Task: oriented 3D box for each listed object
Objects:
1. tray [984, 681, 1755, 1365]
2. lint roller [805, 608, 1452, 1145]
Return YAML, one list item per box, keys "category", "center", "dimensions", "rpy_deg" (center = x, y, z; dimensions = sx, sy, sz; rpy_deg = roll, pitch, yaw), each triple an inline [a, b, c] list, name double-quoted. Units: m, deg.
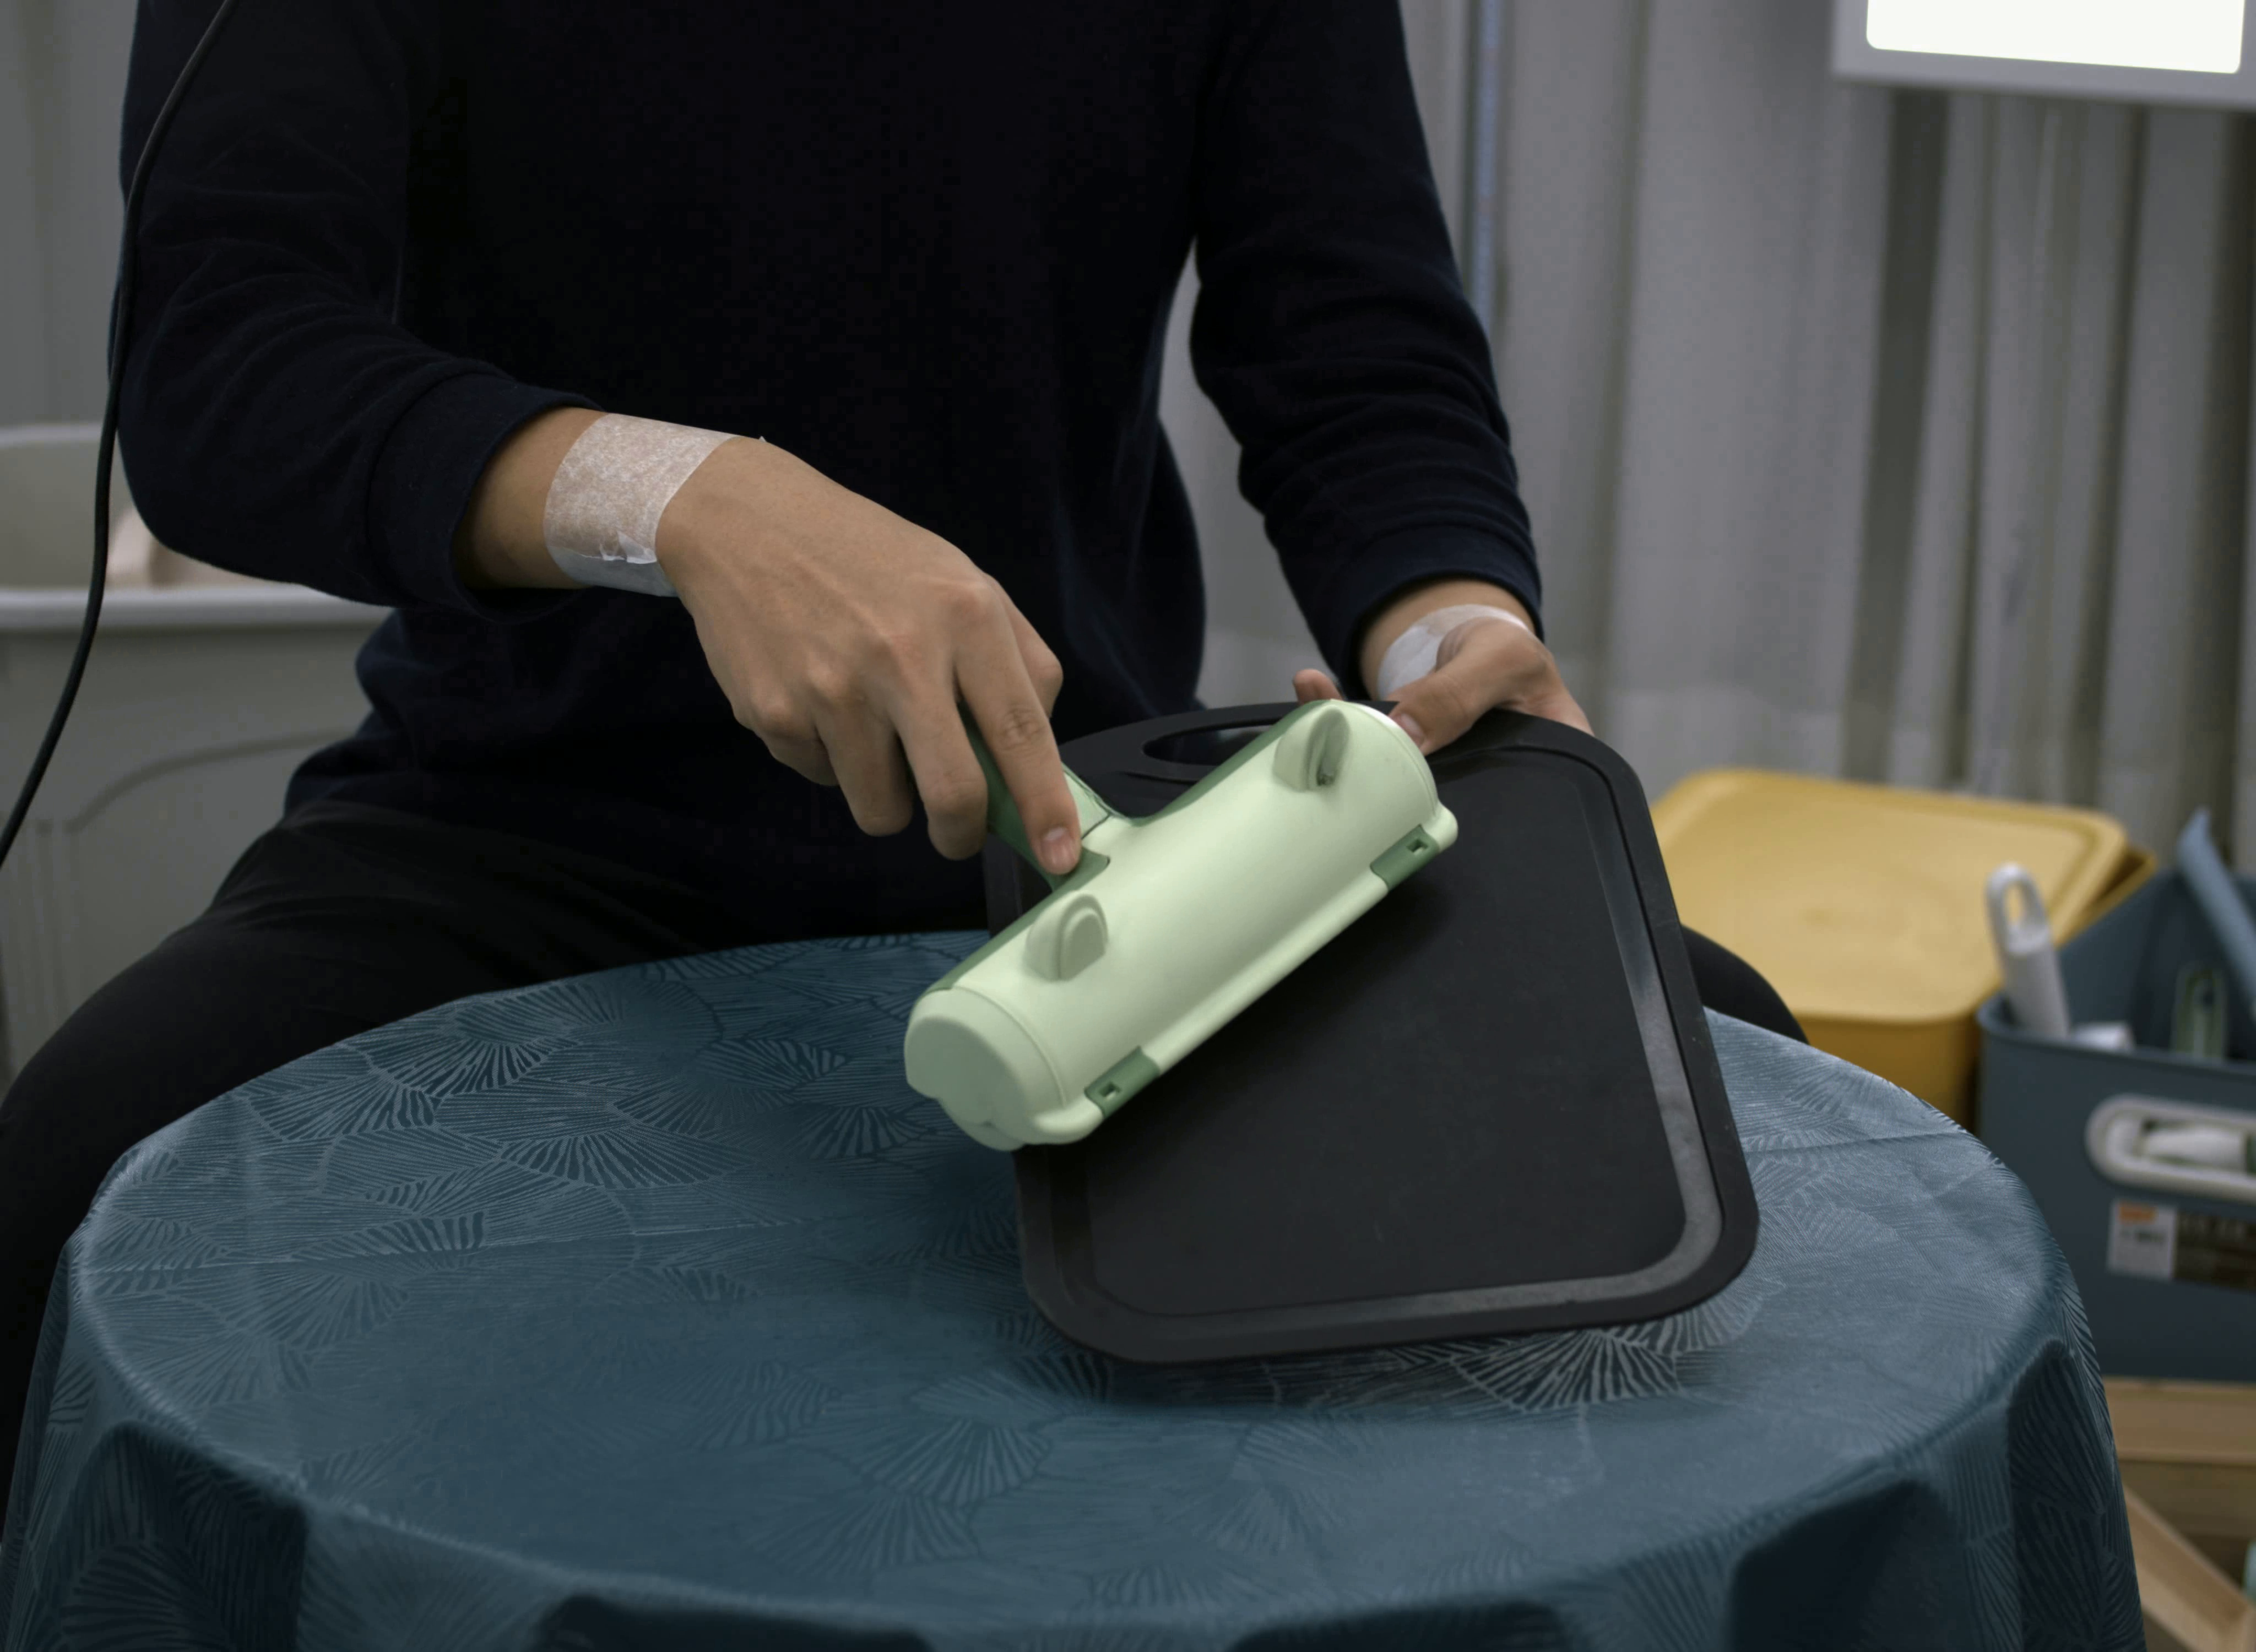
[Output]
- category: "tray"
  center: [0.065, 0.048, 1.578]
  dimensions: [0.210, 0.010, 0.322]
  rpy_deg: [-4, 36, -2]
- category: "lint roller"
  center: [-0.022, -0.017, 1.571]
  dimensions: [0.182, 0.082, 0.198]
  rpy_deg: [45, 51, 9]
